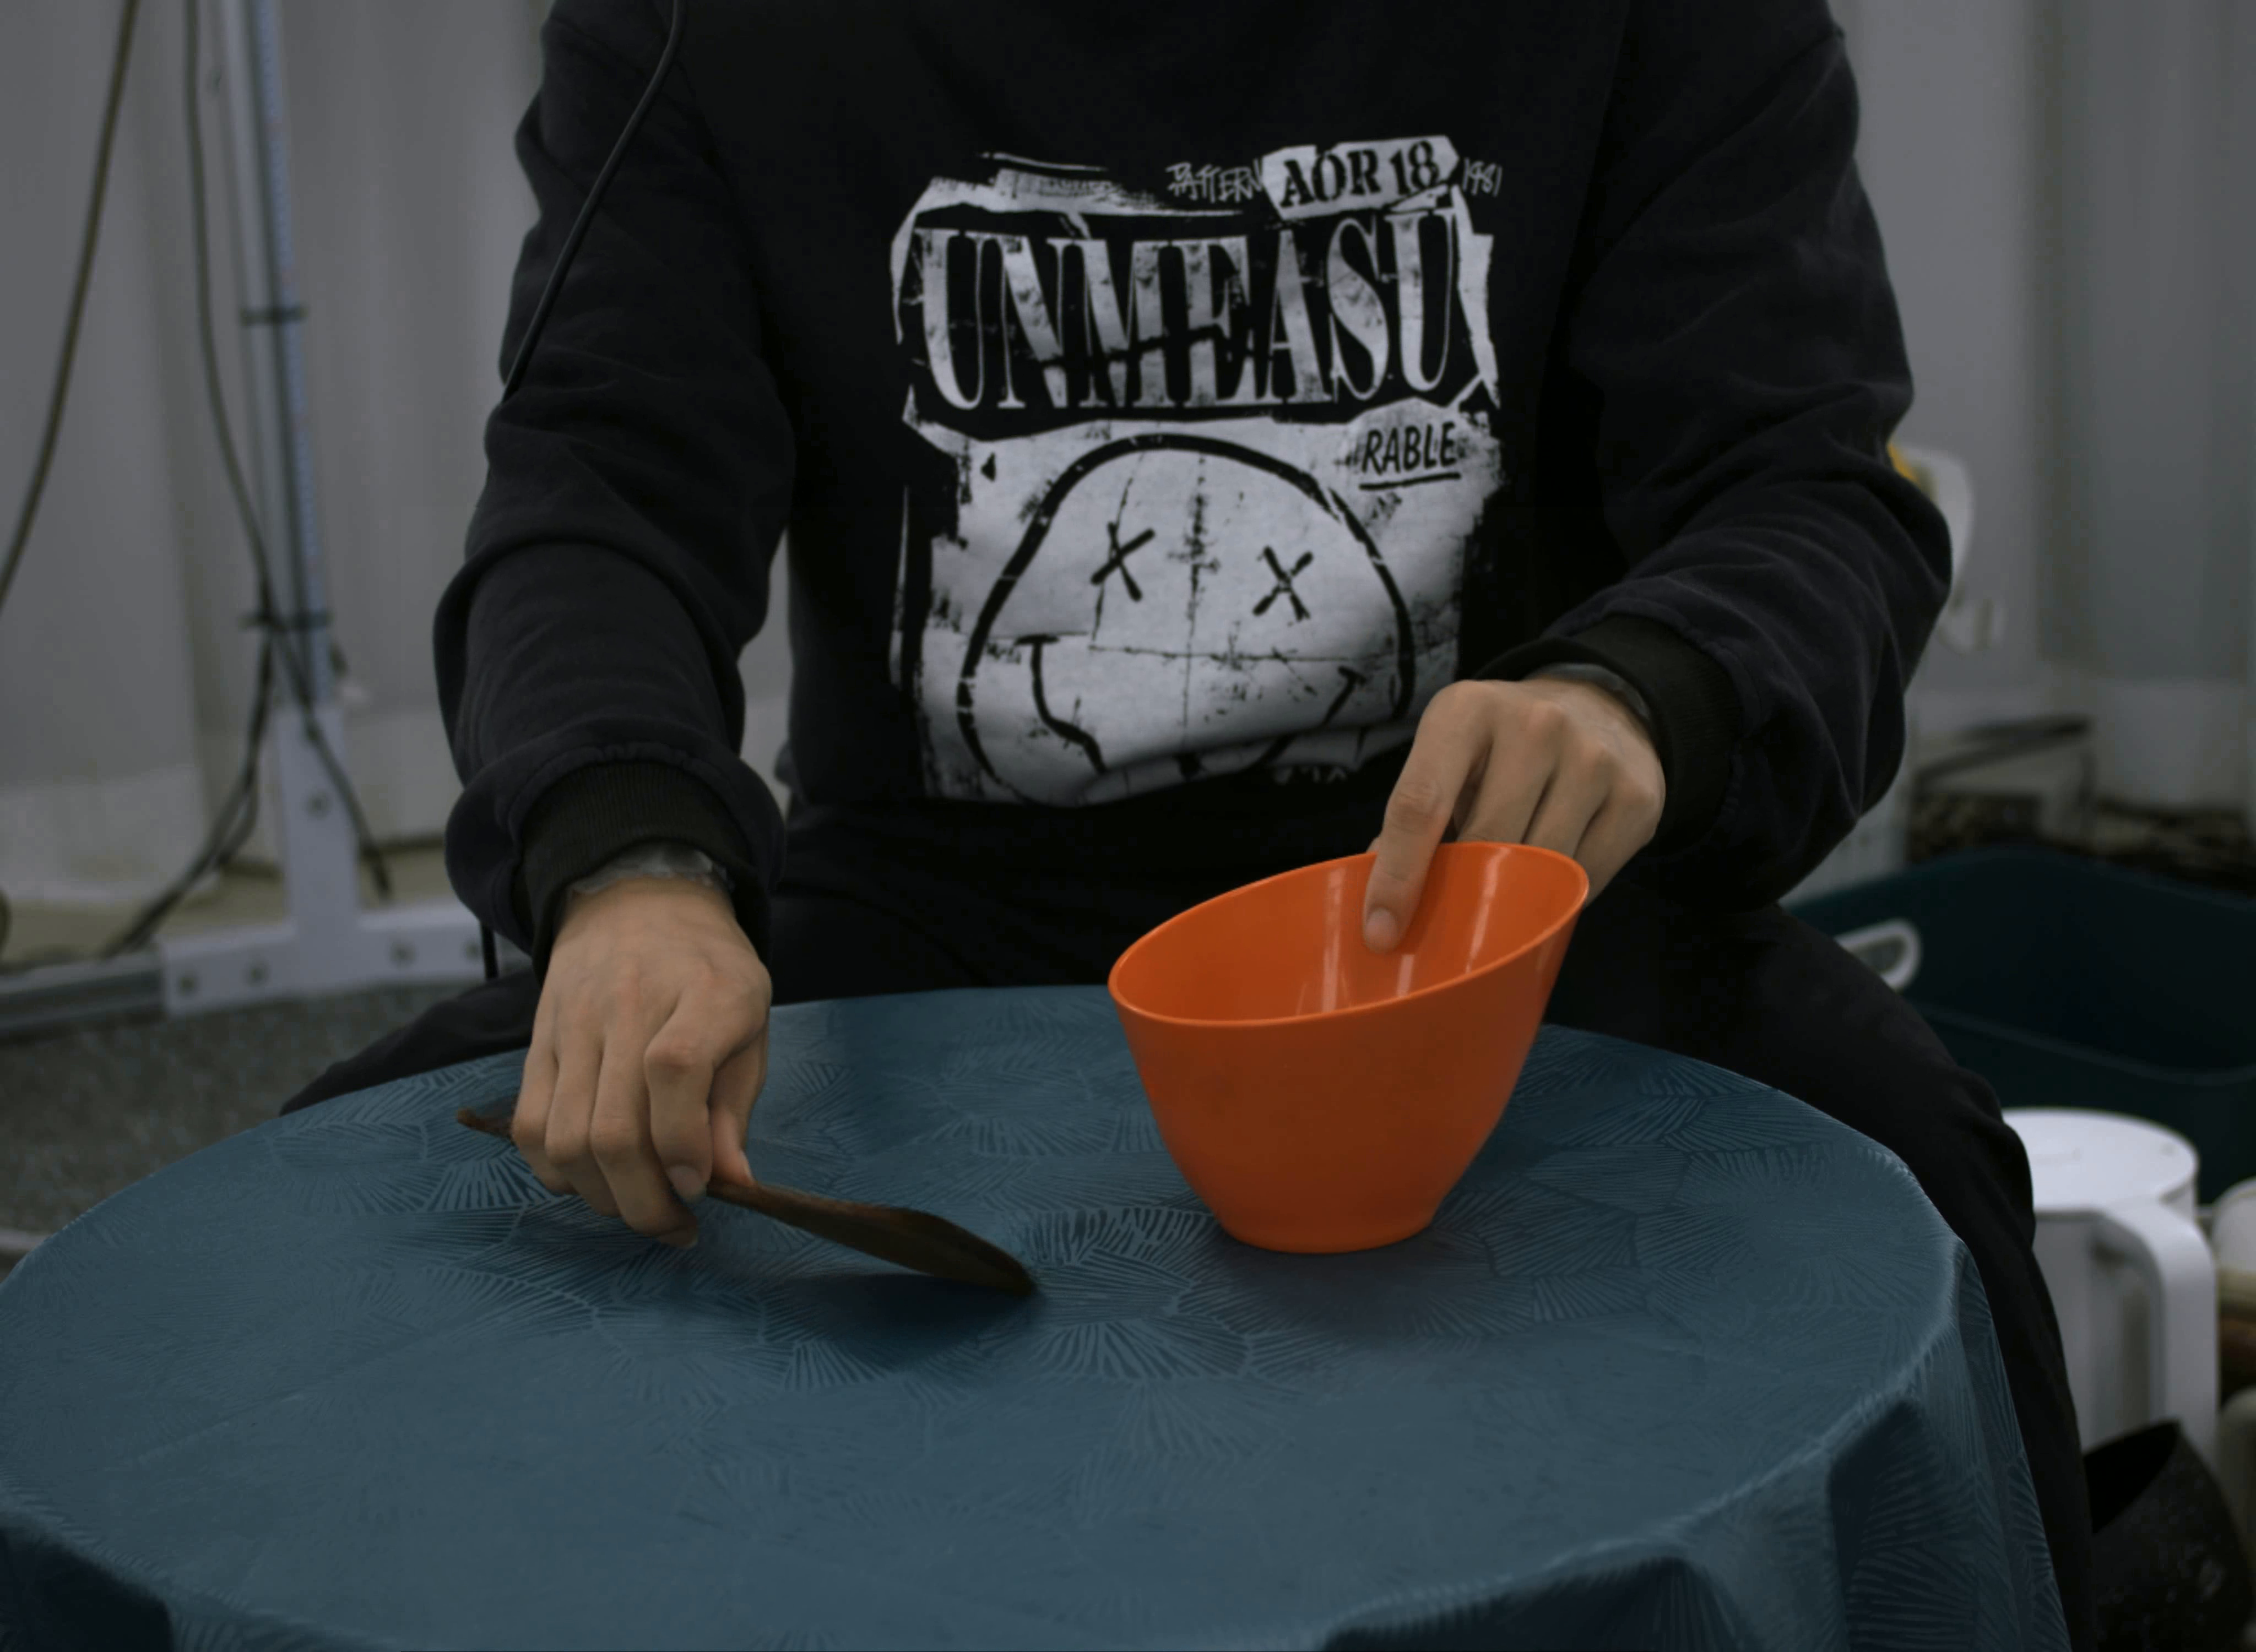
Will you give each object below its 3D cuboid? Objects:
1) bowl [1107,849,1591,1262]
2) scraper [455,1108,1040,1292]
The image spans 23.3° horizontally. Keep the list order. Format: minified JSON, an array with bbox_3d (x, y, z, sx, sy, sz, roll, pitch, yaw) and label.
[{"bbox_3d":[0.068,0.072,1.665,0.147,0.104,0.149,-3,16,1],"label":"bowl"},{"bbox_3d":[-0.123,0.111,1.658,0.212,0.011,0.075,12,-13,37],"label":"scraper"}]
